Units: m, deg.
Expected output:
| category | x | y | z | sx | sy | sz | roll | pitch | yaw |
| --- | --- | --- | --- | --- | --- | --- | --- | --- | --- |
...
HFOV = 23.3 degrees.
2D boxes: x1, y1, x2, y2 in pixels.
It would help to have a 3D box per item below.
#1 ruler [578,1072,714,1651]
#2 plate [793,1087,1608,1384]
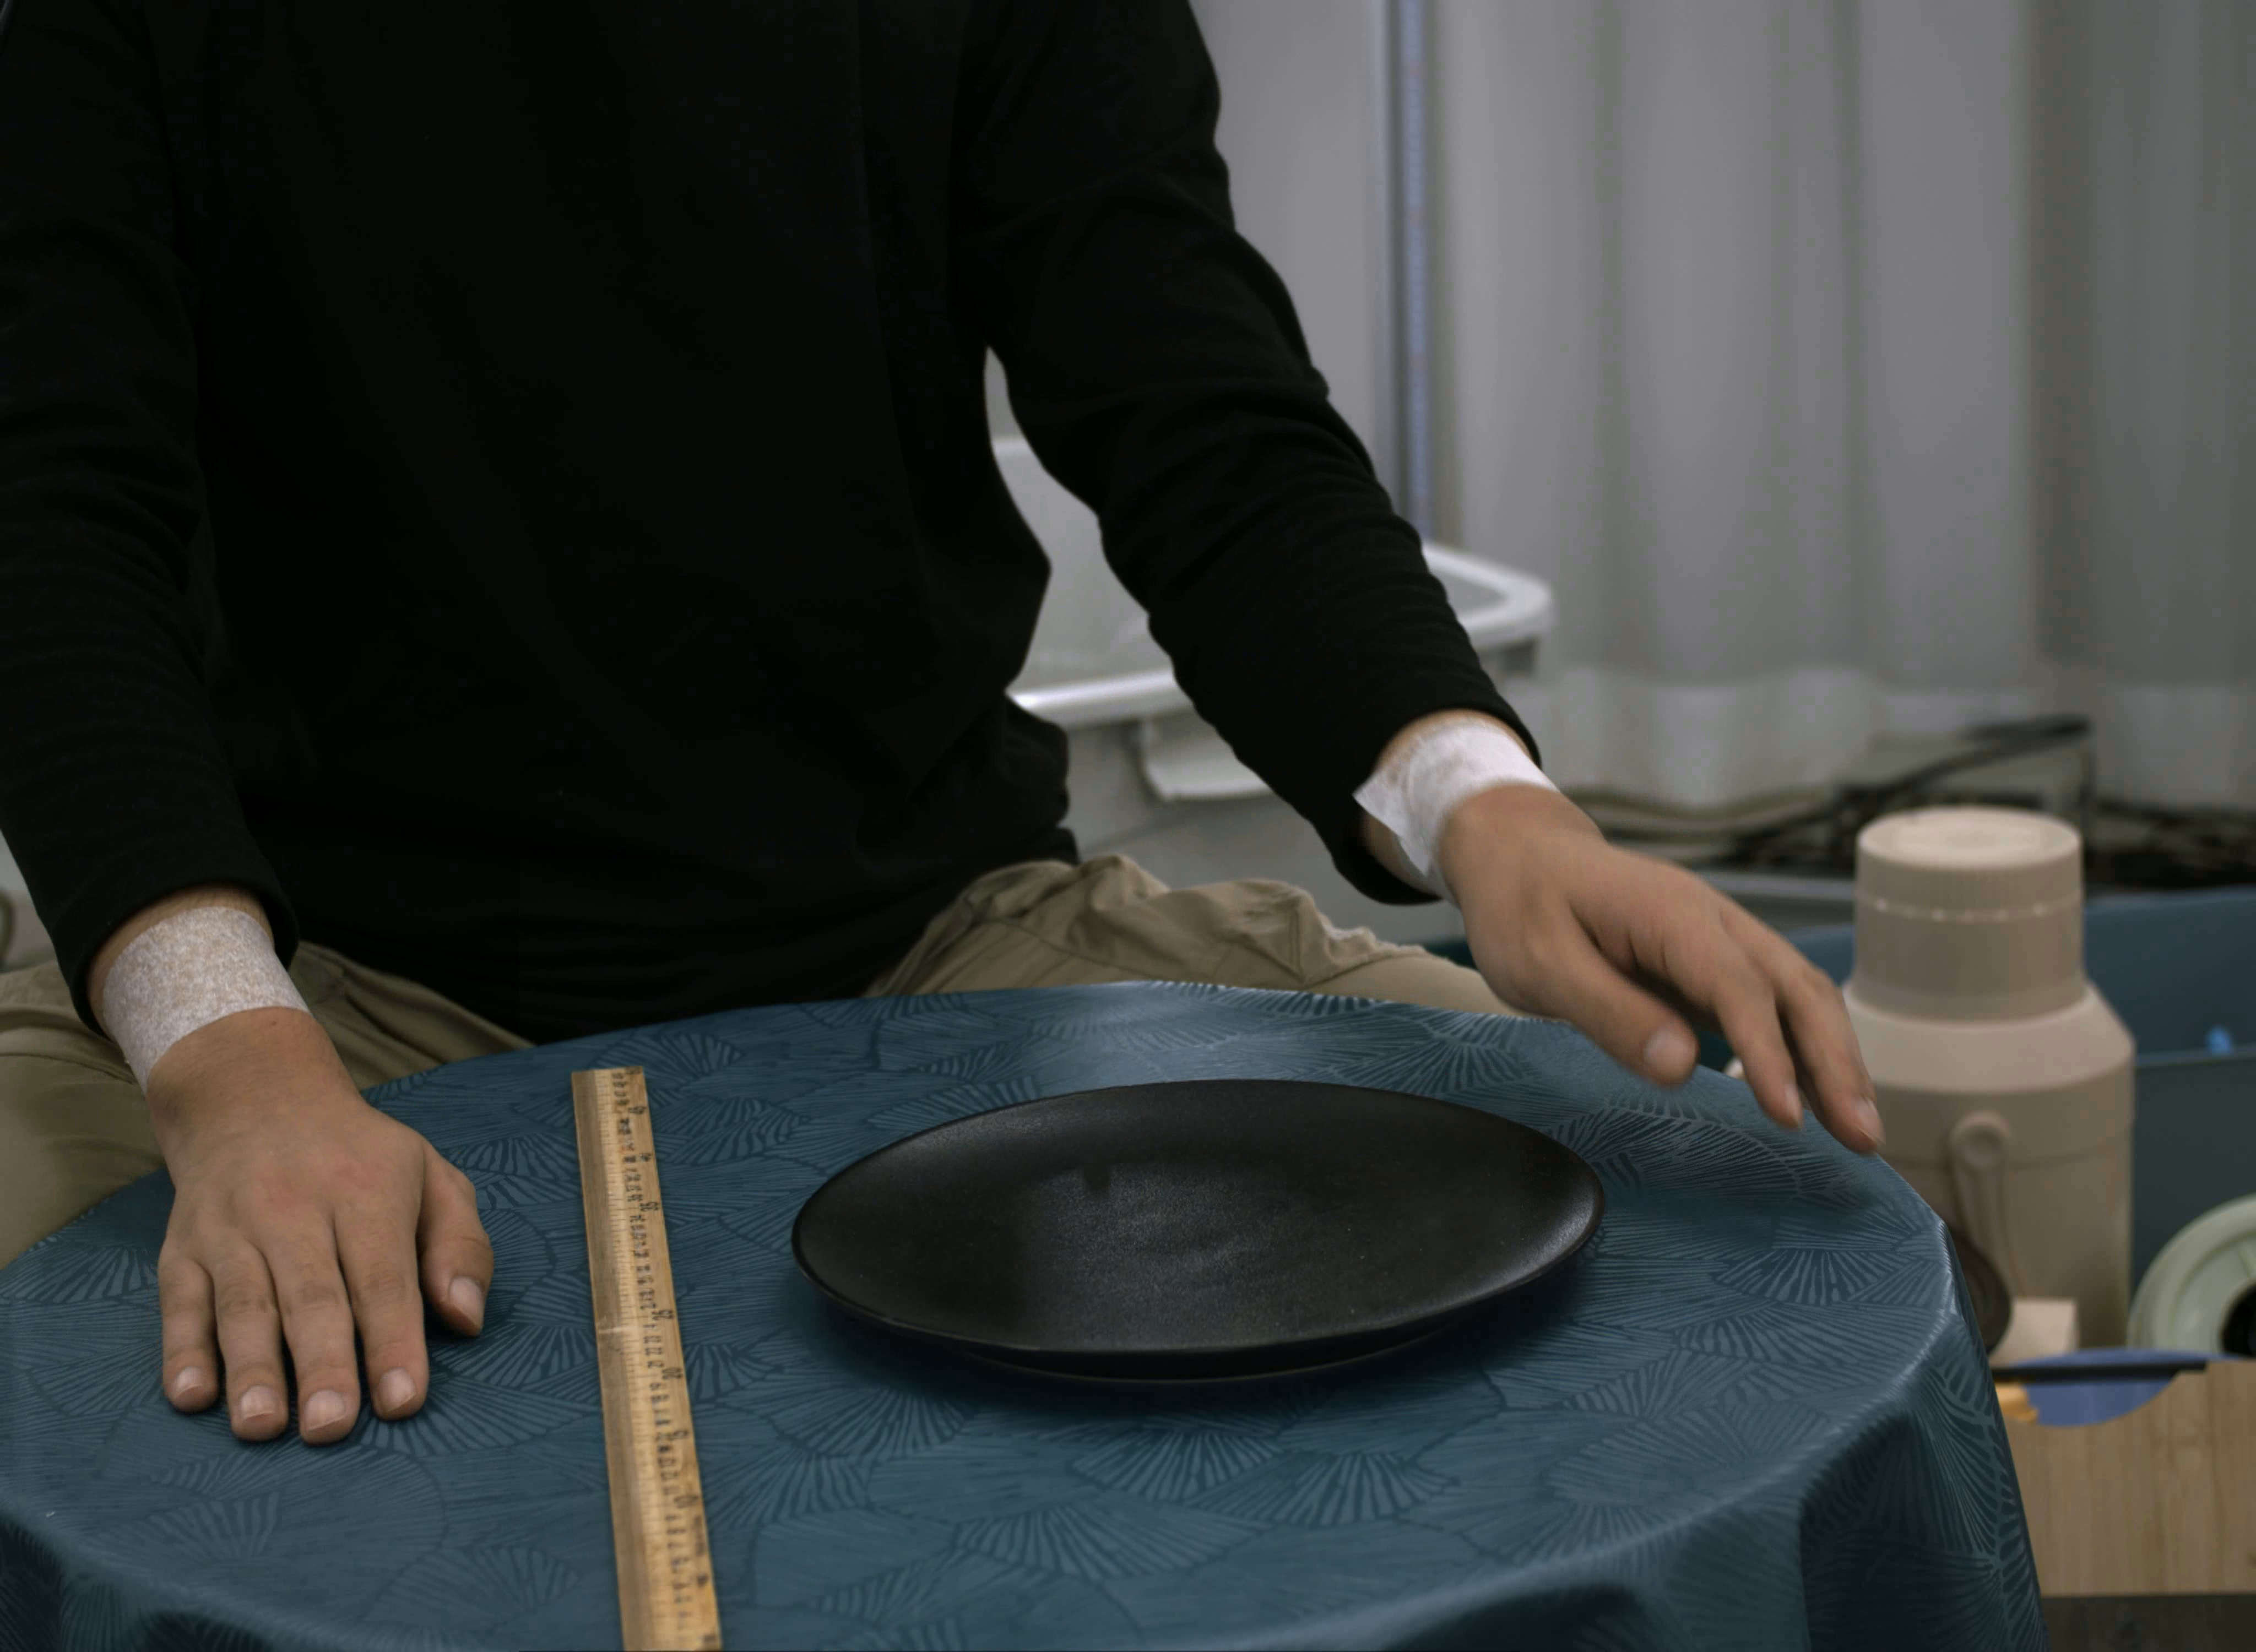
| category | x | y | z | sx | sy | sz | roll | pitch | yaw |
| --- | --- | --- | --- | --- | --- | --- | --- | --- | --- |
| ruler | -0.144 | 0.147 | 1.610 | 0.026 | 0.006 | 0.504 | -3 | 15 | -6 |
| plate | 0.022 | 0.124 | 1.630 | 0.243 | 0.023 | 0.246 | -3 | 15 | 0 |
